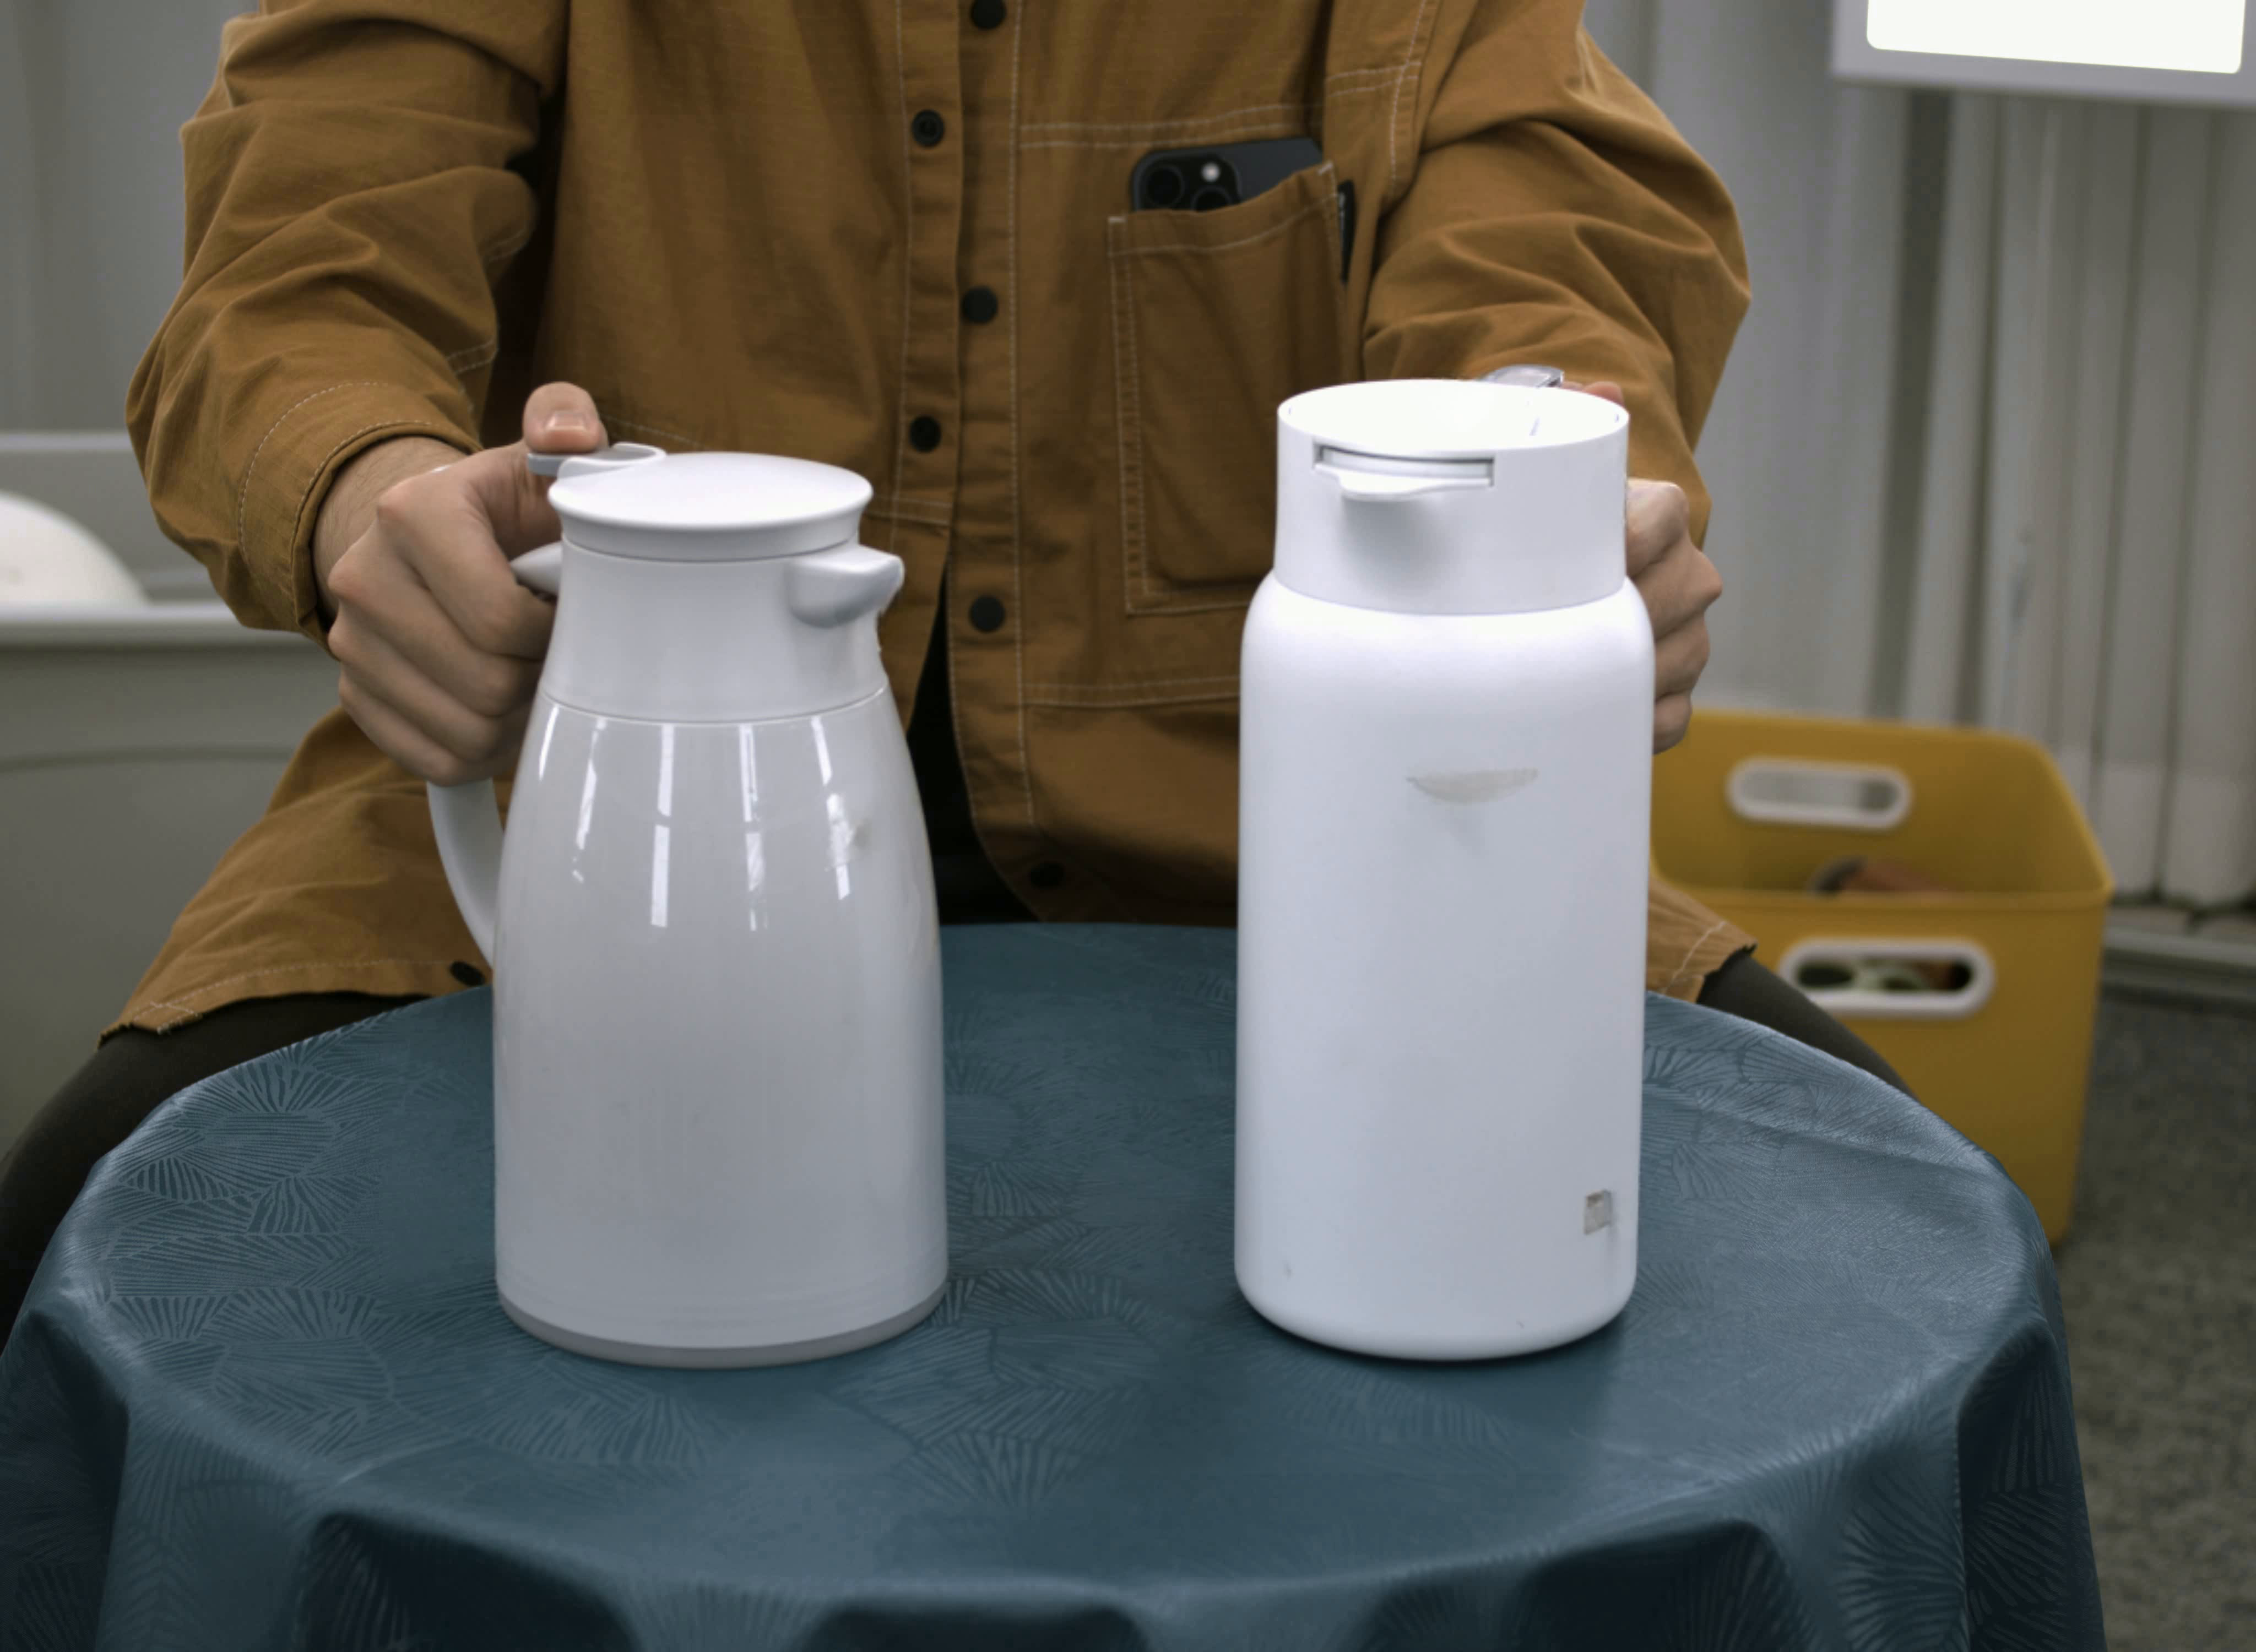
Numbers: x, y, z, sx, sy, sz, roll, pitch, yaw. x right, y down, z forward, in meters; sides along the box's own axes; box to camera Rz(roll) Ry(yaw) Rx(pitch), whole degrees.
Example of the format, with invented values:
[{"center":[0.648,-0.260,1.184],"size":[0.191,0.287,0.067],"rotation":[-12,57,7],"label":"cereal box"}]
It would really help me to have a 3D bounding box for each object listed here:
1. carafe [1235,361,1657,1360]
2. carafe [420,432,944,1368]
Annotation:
[{"center":[0.095,0.005,1.510],"size":[0.122,0.271,0.173],"rotation":[5,16,21],"label":"carafe"},{"center":[-0.135,0.013,1.510],"size":[0.165,0.250,0.133],"rotation":[10,19,33],"label":"carafe"}]
